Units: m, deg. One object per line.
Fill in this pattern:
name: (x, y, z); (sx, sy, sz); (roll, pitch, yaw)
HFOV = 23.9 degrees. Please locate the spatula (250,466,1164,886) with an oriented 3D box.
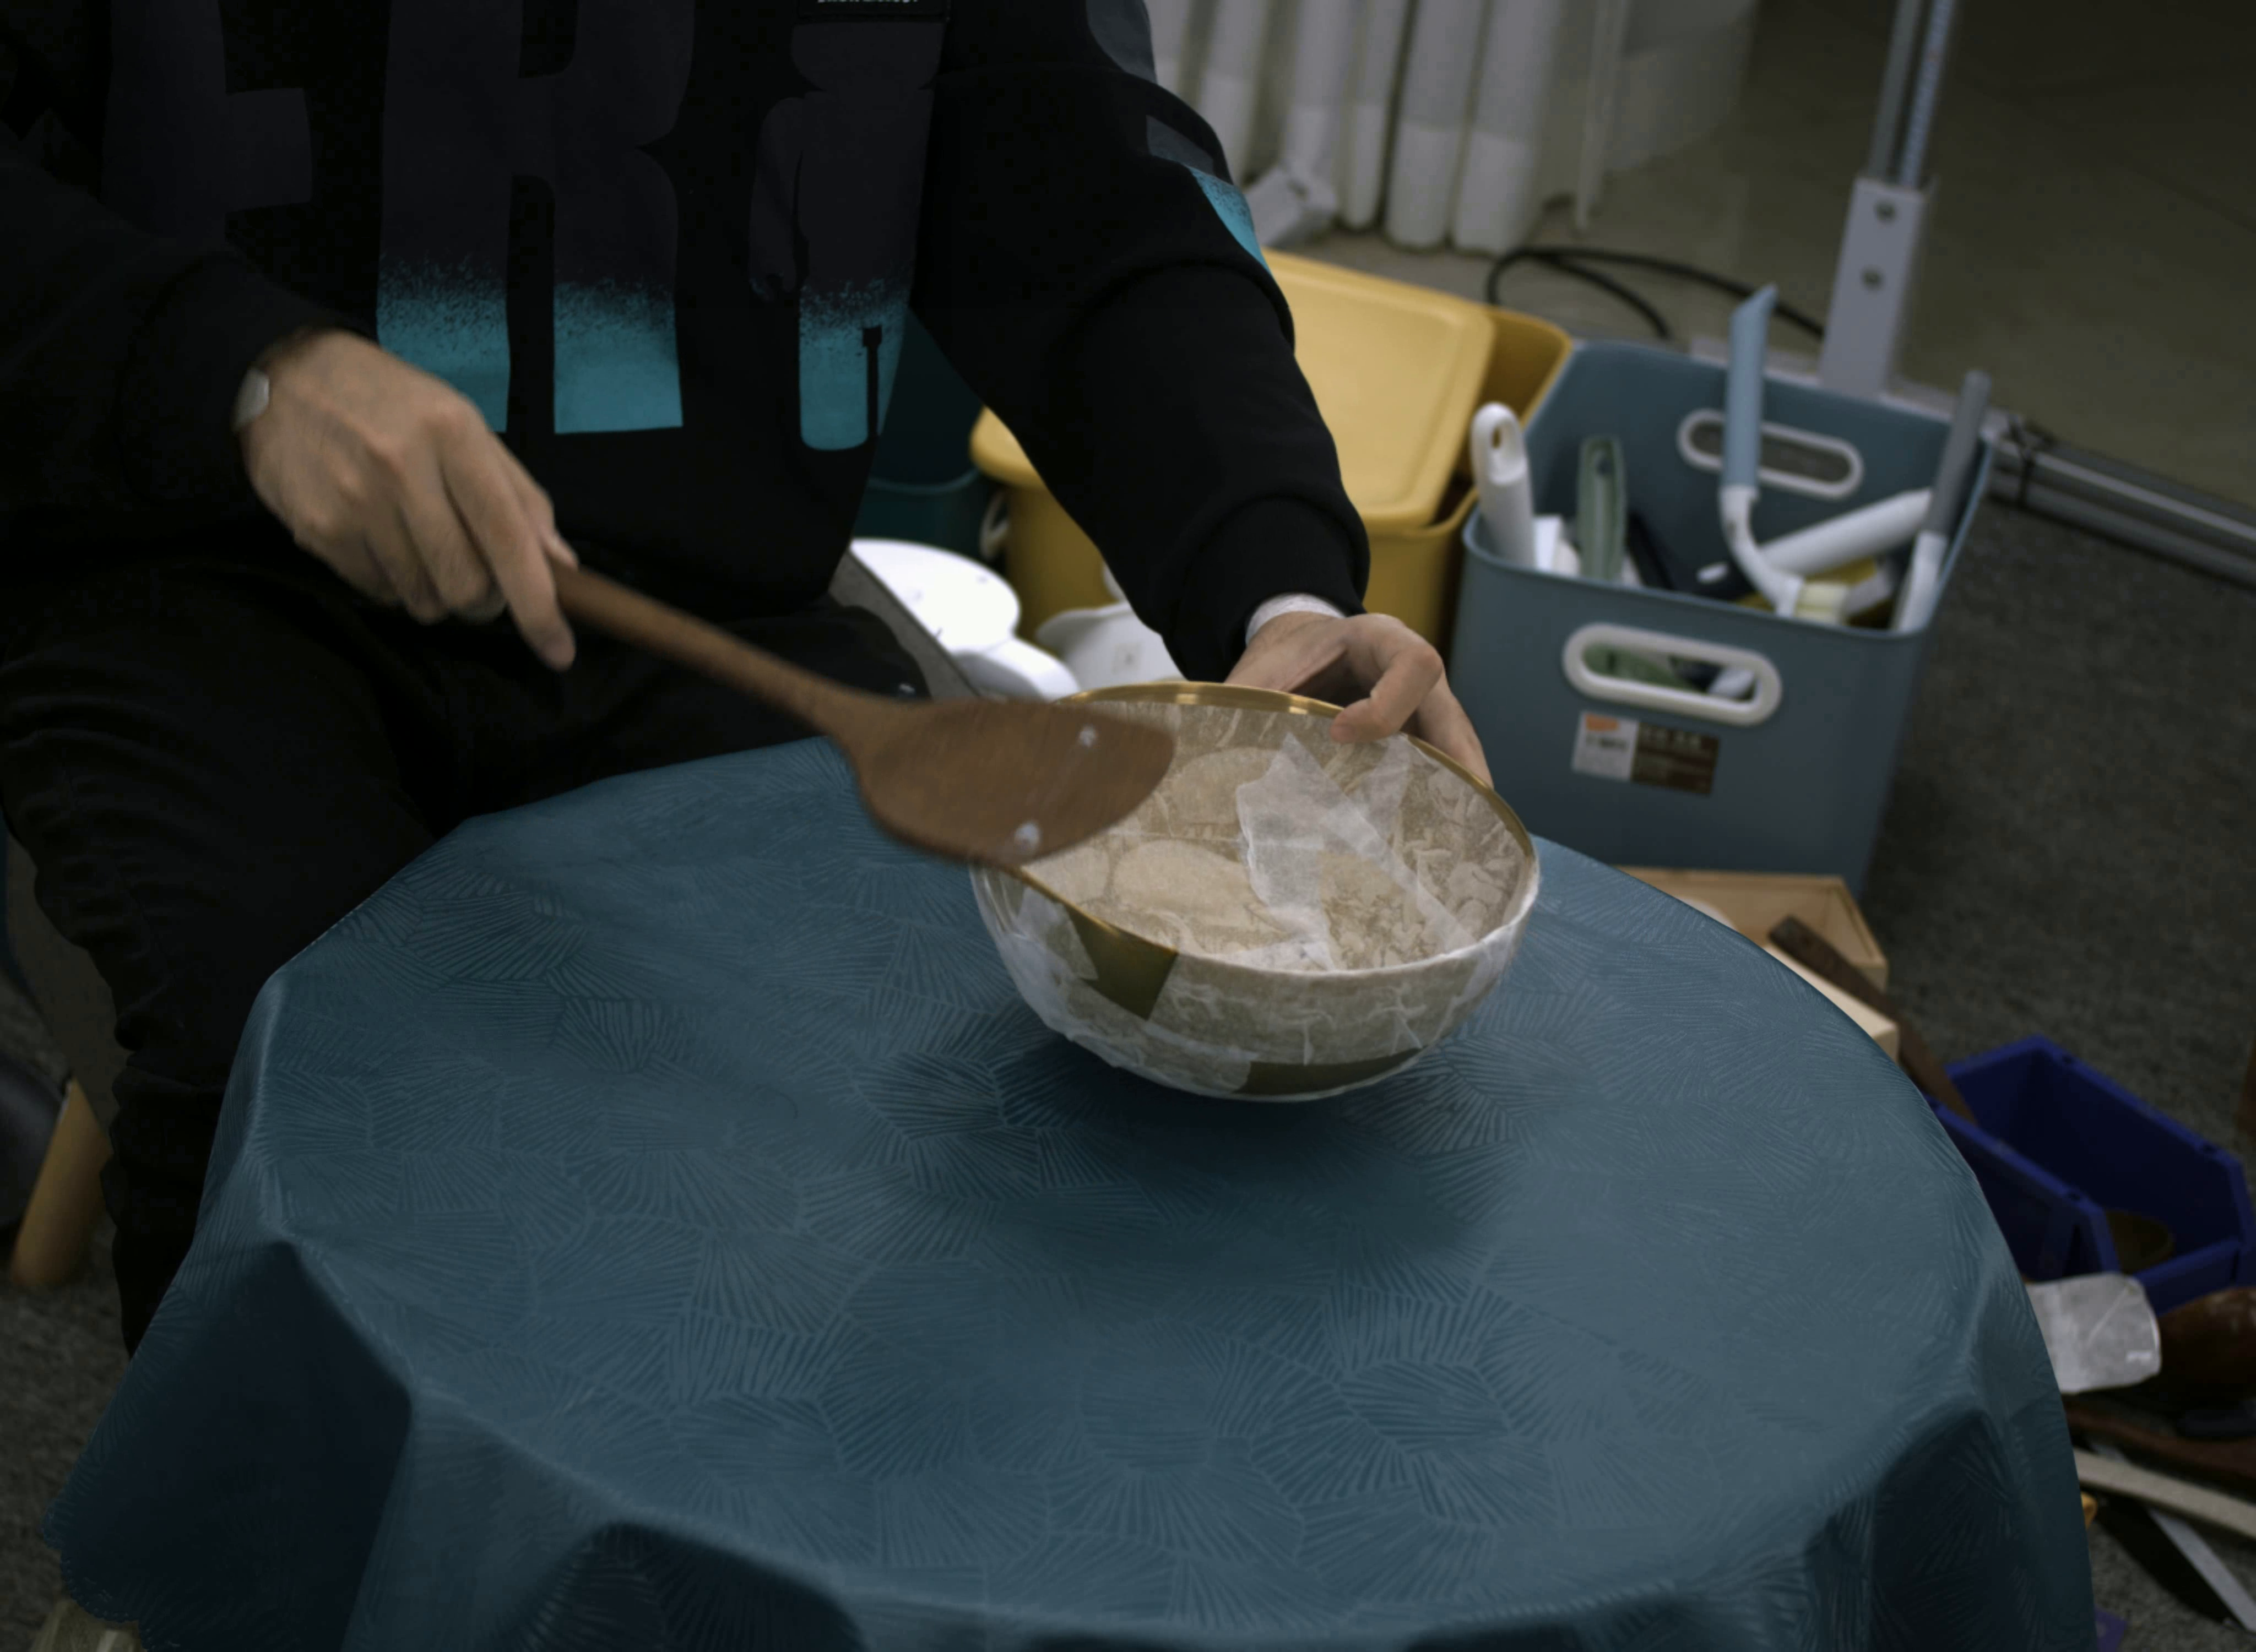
spatula: (-0.157, -0.059, 1.786); (0.388, 0.016, 0.096); (24, 42, 31)

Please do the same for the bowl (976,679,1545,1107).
bowl: (0.040, 0.036, 1.869); (0.214, 0.094, 0.216); (6, 28, -4)
